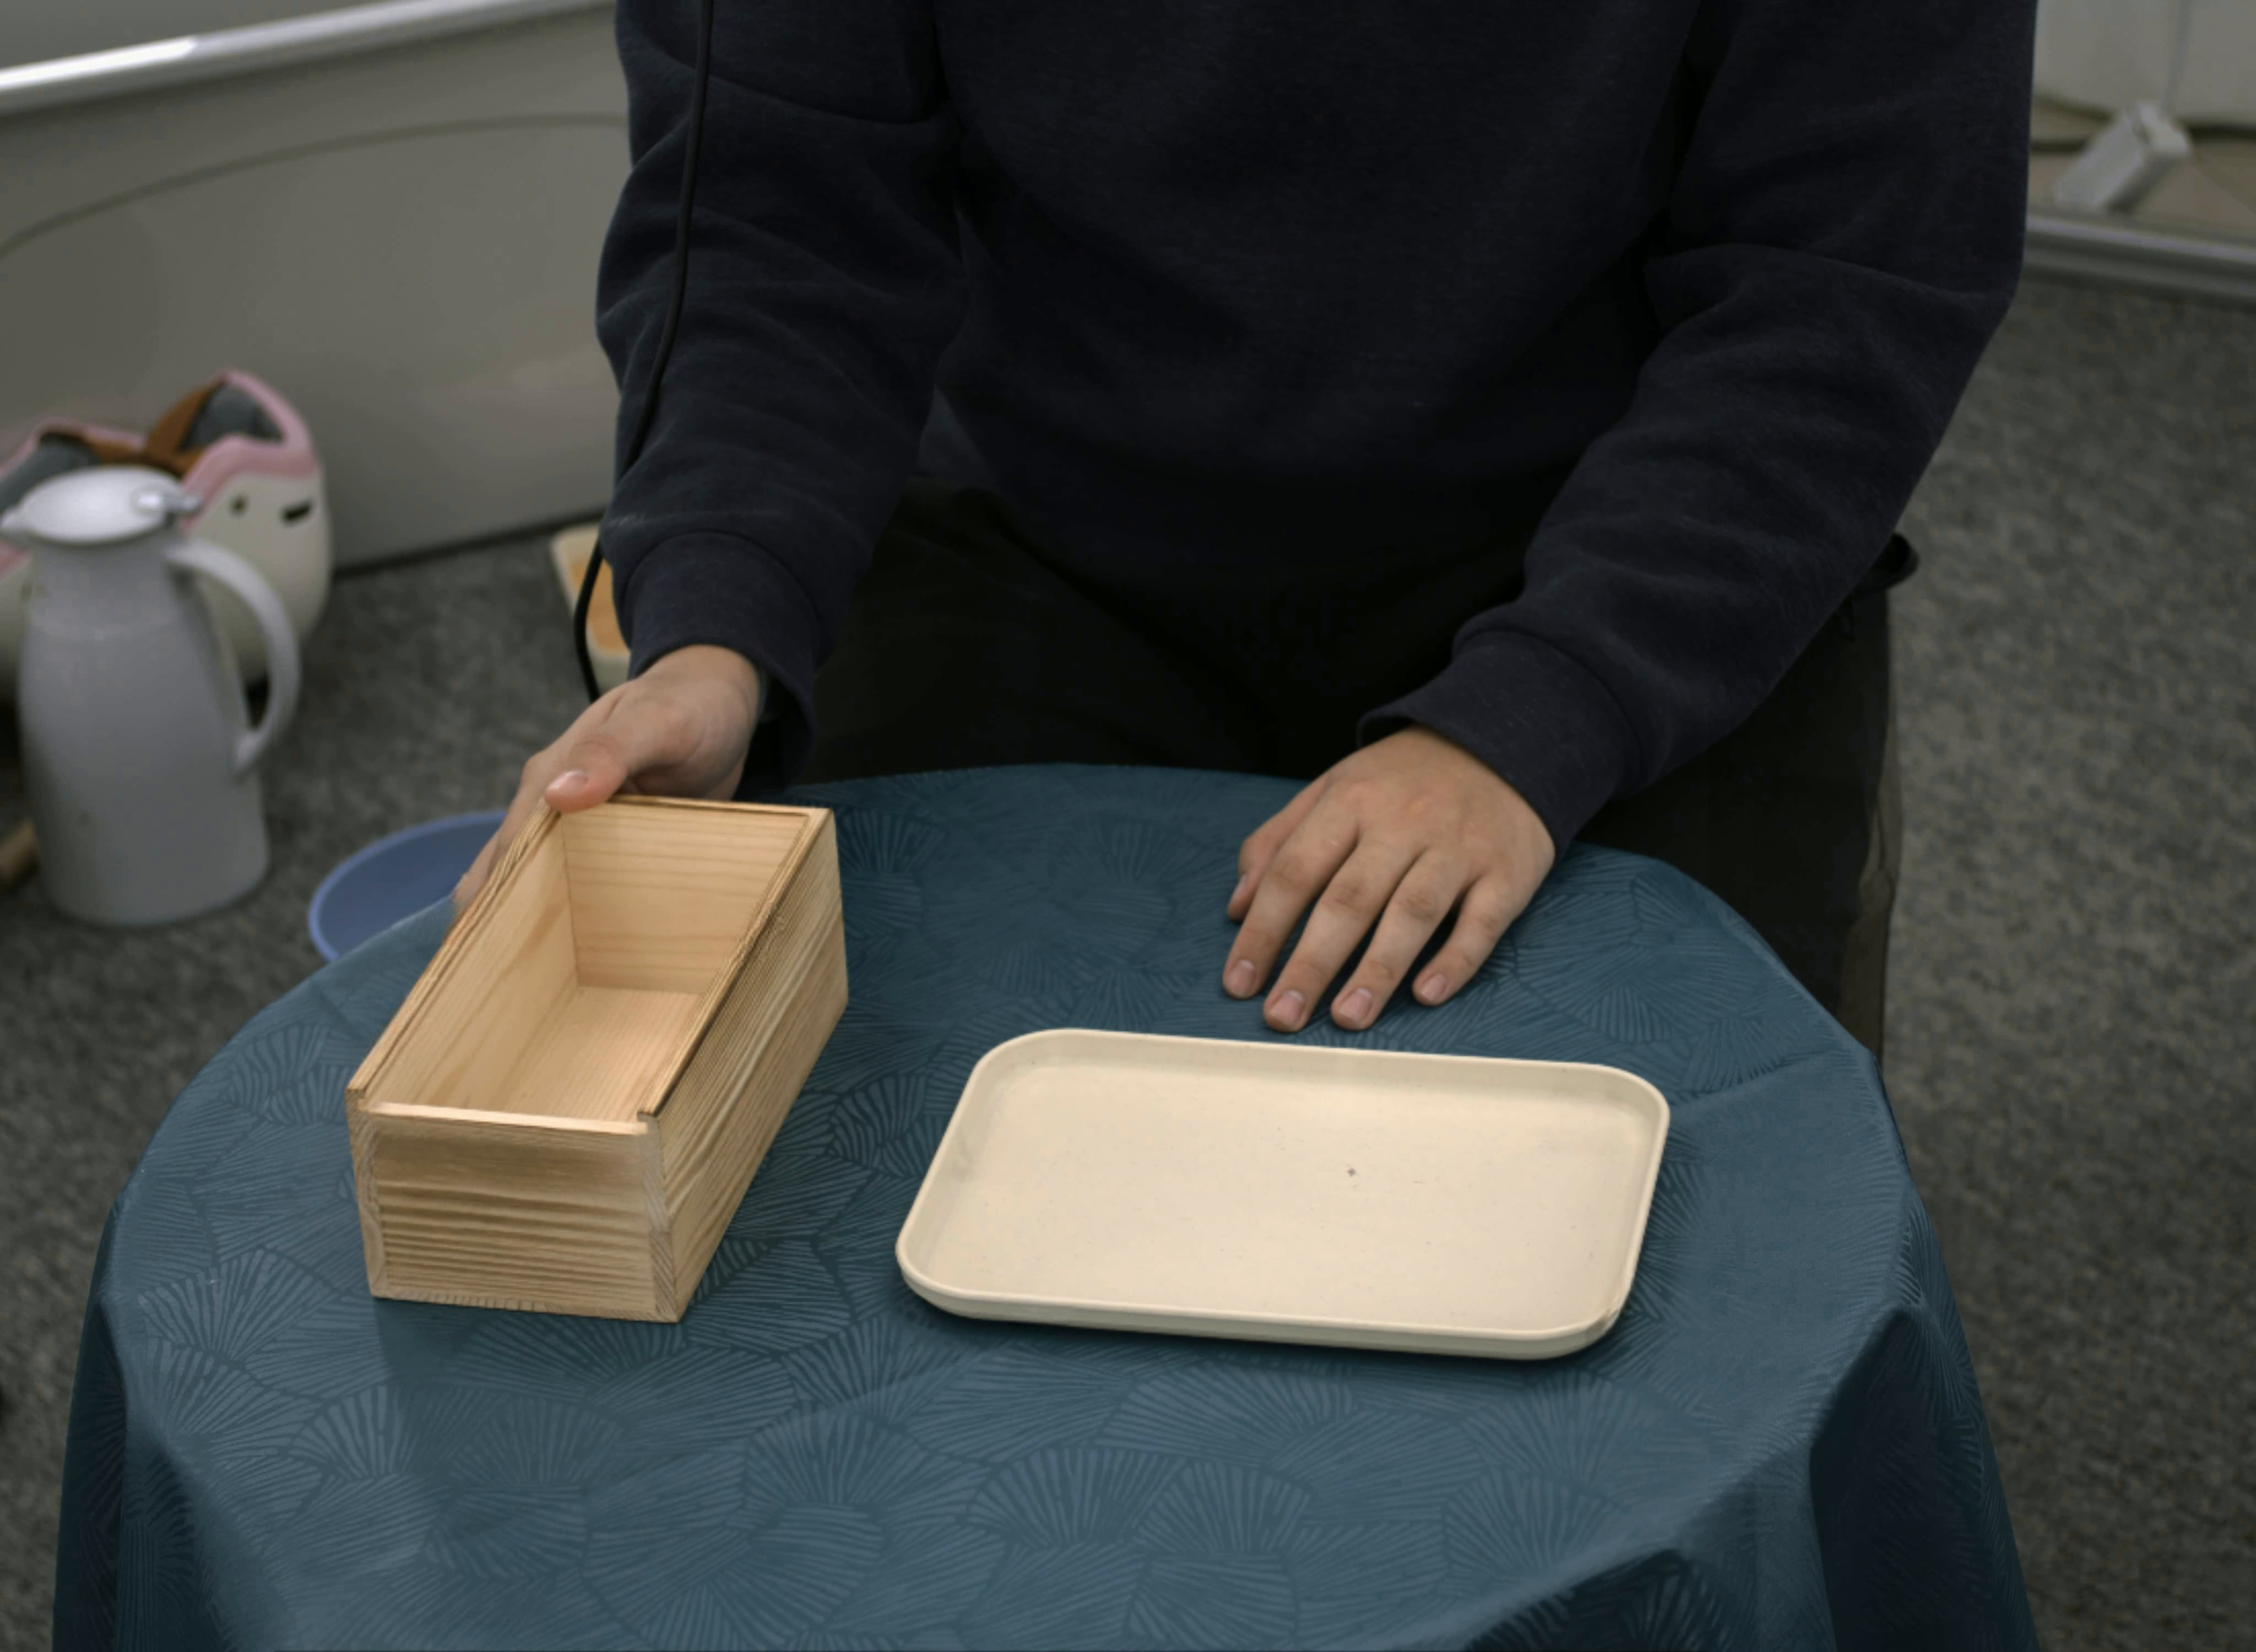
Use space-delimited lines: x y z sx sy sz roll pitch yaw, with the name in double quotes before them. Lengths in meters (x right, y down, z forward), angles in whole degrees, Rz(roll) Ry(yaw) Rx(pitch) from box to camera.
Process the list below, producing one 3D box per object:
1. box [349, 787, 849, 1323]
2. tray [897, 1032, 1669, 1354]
"box" -0.173 0.073 1.887 0.107 0.079 0.215 4 28 12
"tray" 0.053 0.121 1.843 0.238 0.017 0.174 3 27 11
